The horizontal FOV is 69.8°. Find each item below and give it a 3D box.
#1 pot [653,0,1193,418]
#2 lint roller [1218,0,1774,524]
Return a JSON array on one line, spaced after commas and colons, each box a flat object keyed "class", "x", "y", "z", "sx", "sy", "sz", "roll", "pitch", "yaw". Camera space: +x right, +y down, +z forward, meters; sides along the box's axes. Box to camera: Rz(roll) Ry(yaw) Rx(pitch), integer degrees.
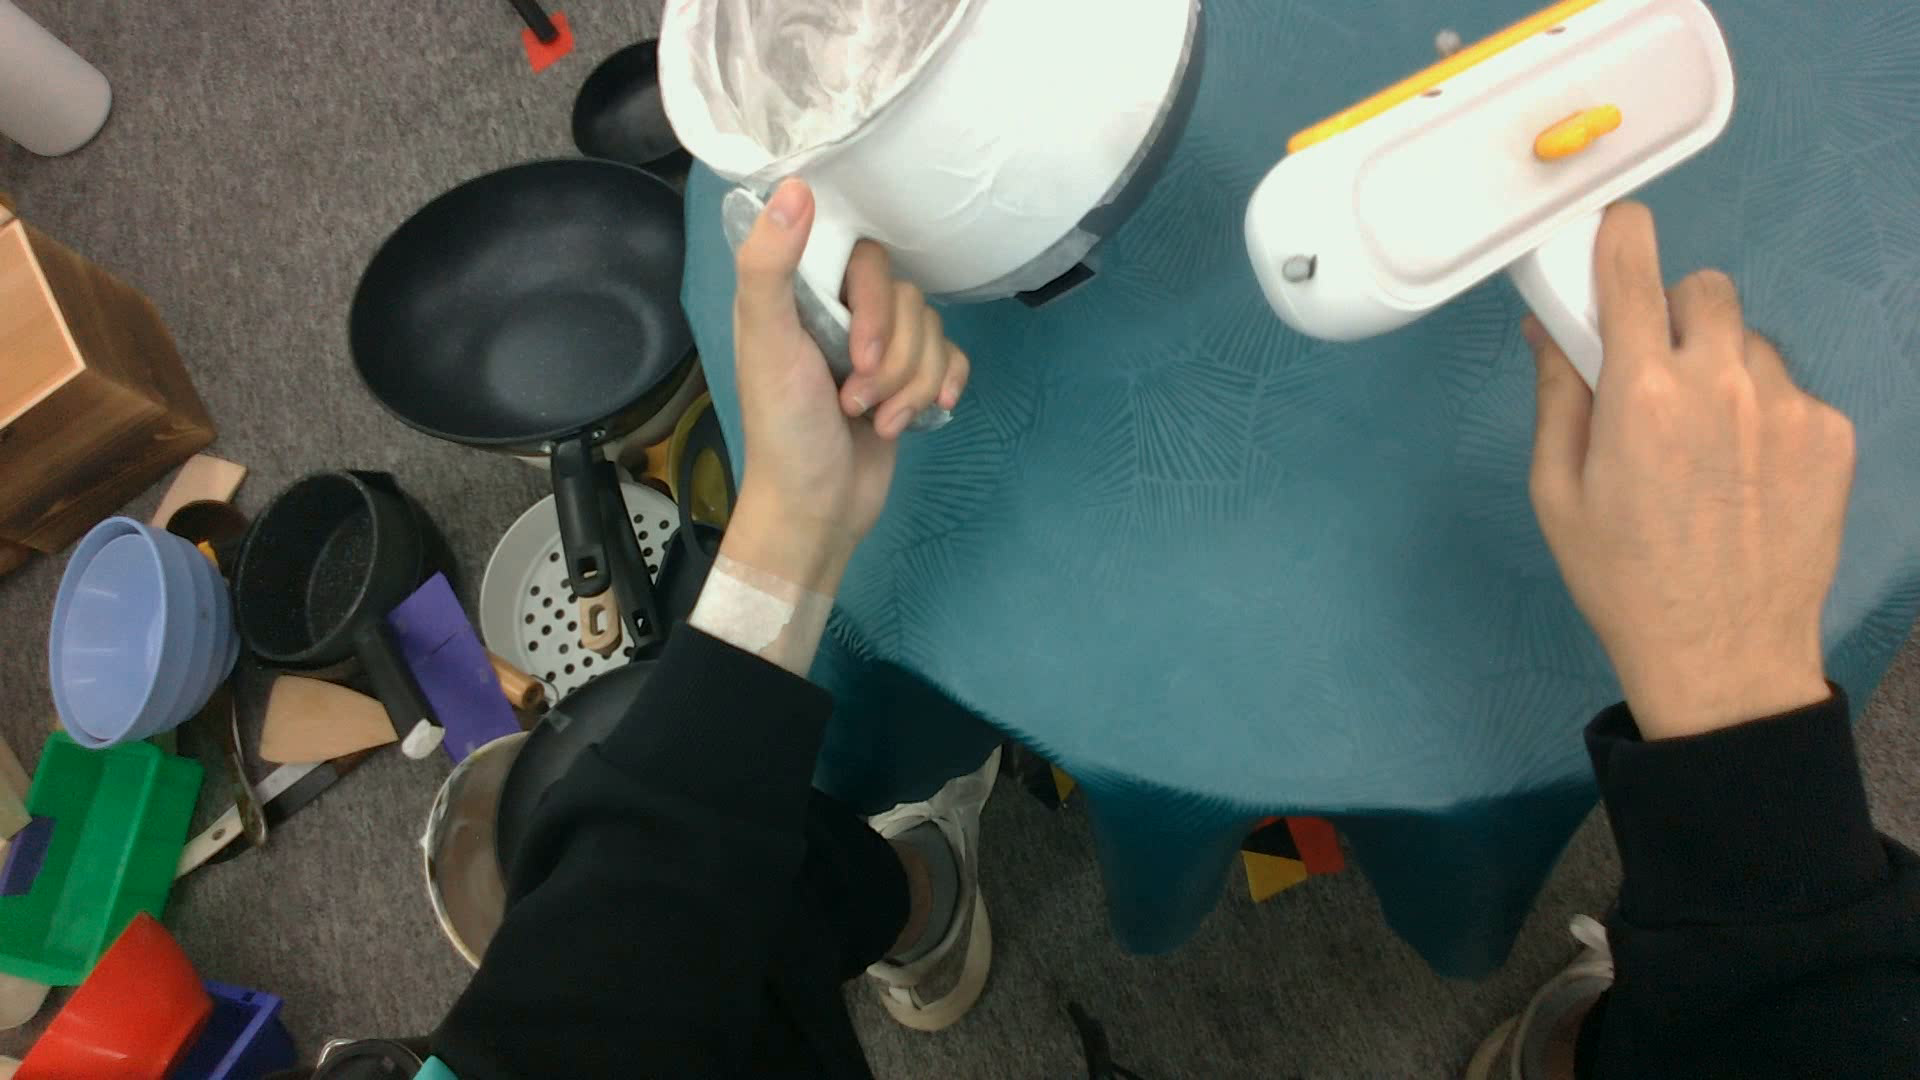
[{"class": "pot", "x": -0.019, "y": -0.170, "z": 0.525, "sx": 0.178, "sy": 0.136, "sz": 0.234, "roll": 9, "pitch": 78, "yaw": 44}, {"class": "lint roller", "x": 0.199, "y": -0.087, "z": 0.459, "sx": 0.193, "sy": 0.074, "sz": 0.192, "roll": -38, "pitch": 101, "yaw": -27}]
